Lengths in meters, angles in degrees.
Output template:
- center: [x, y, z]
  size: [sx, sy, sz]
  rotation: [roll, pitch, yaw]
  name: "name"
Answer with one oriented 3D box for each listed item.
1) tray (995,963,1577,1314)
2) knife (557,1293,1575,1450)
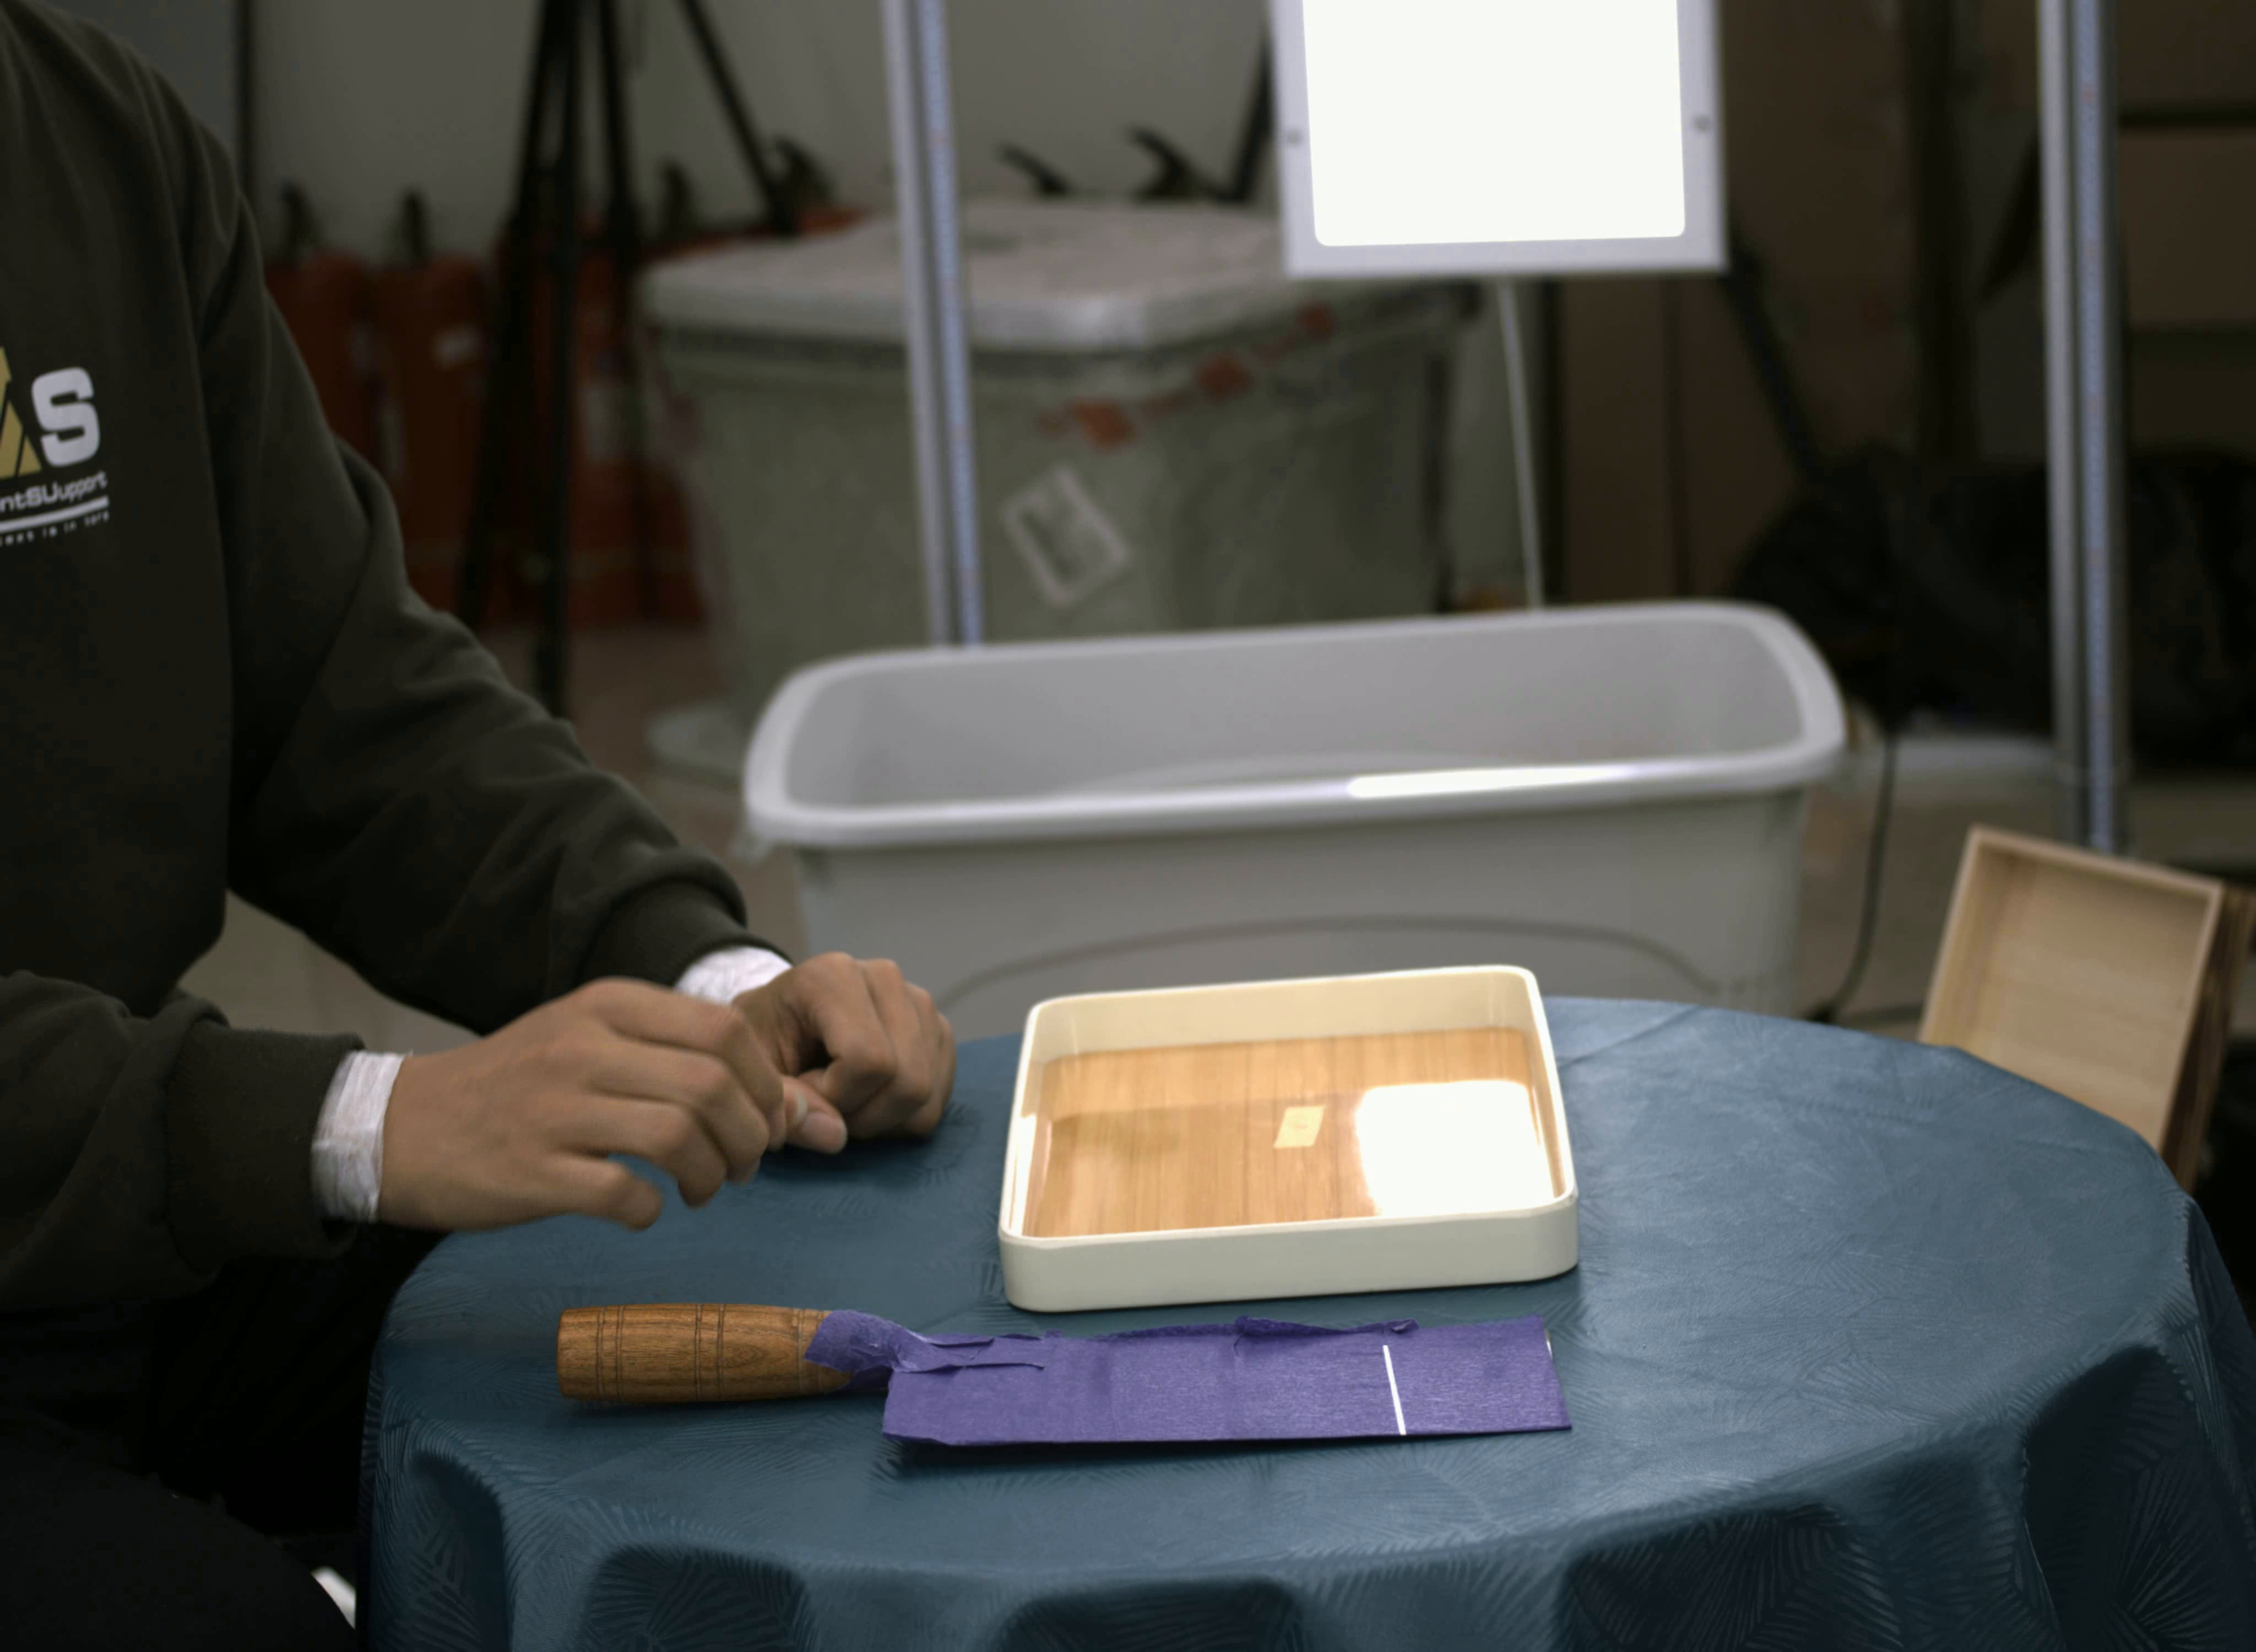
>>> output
- center: [0.054, 0.105, 1.914]
  size: [0.192, 0.027, 0.299]
  rotation: [-5, 14, 3]
  name: "tray"
- center: [-0.022, 0.167, 1.688]
  size: [0.315, 0.032, 0.103]
  rotation: [-4, 13, 3]
  name: "knife"
